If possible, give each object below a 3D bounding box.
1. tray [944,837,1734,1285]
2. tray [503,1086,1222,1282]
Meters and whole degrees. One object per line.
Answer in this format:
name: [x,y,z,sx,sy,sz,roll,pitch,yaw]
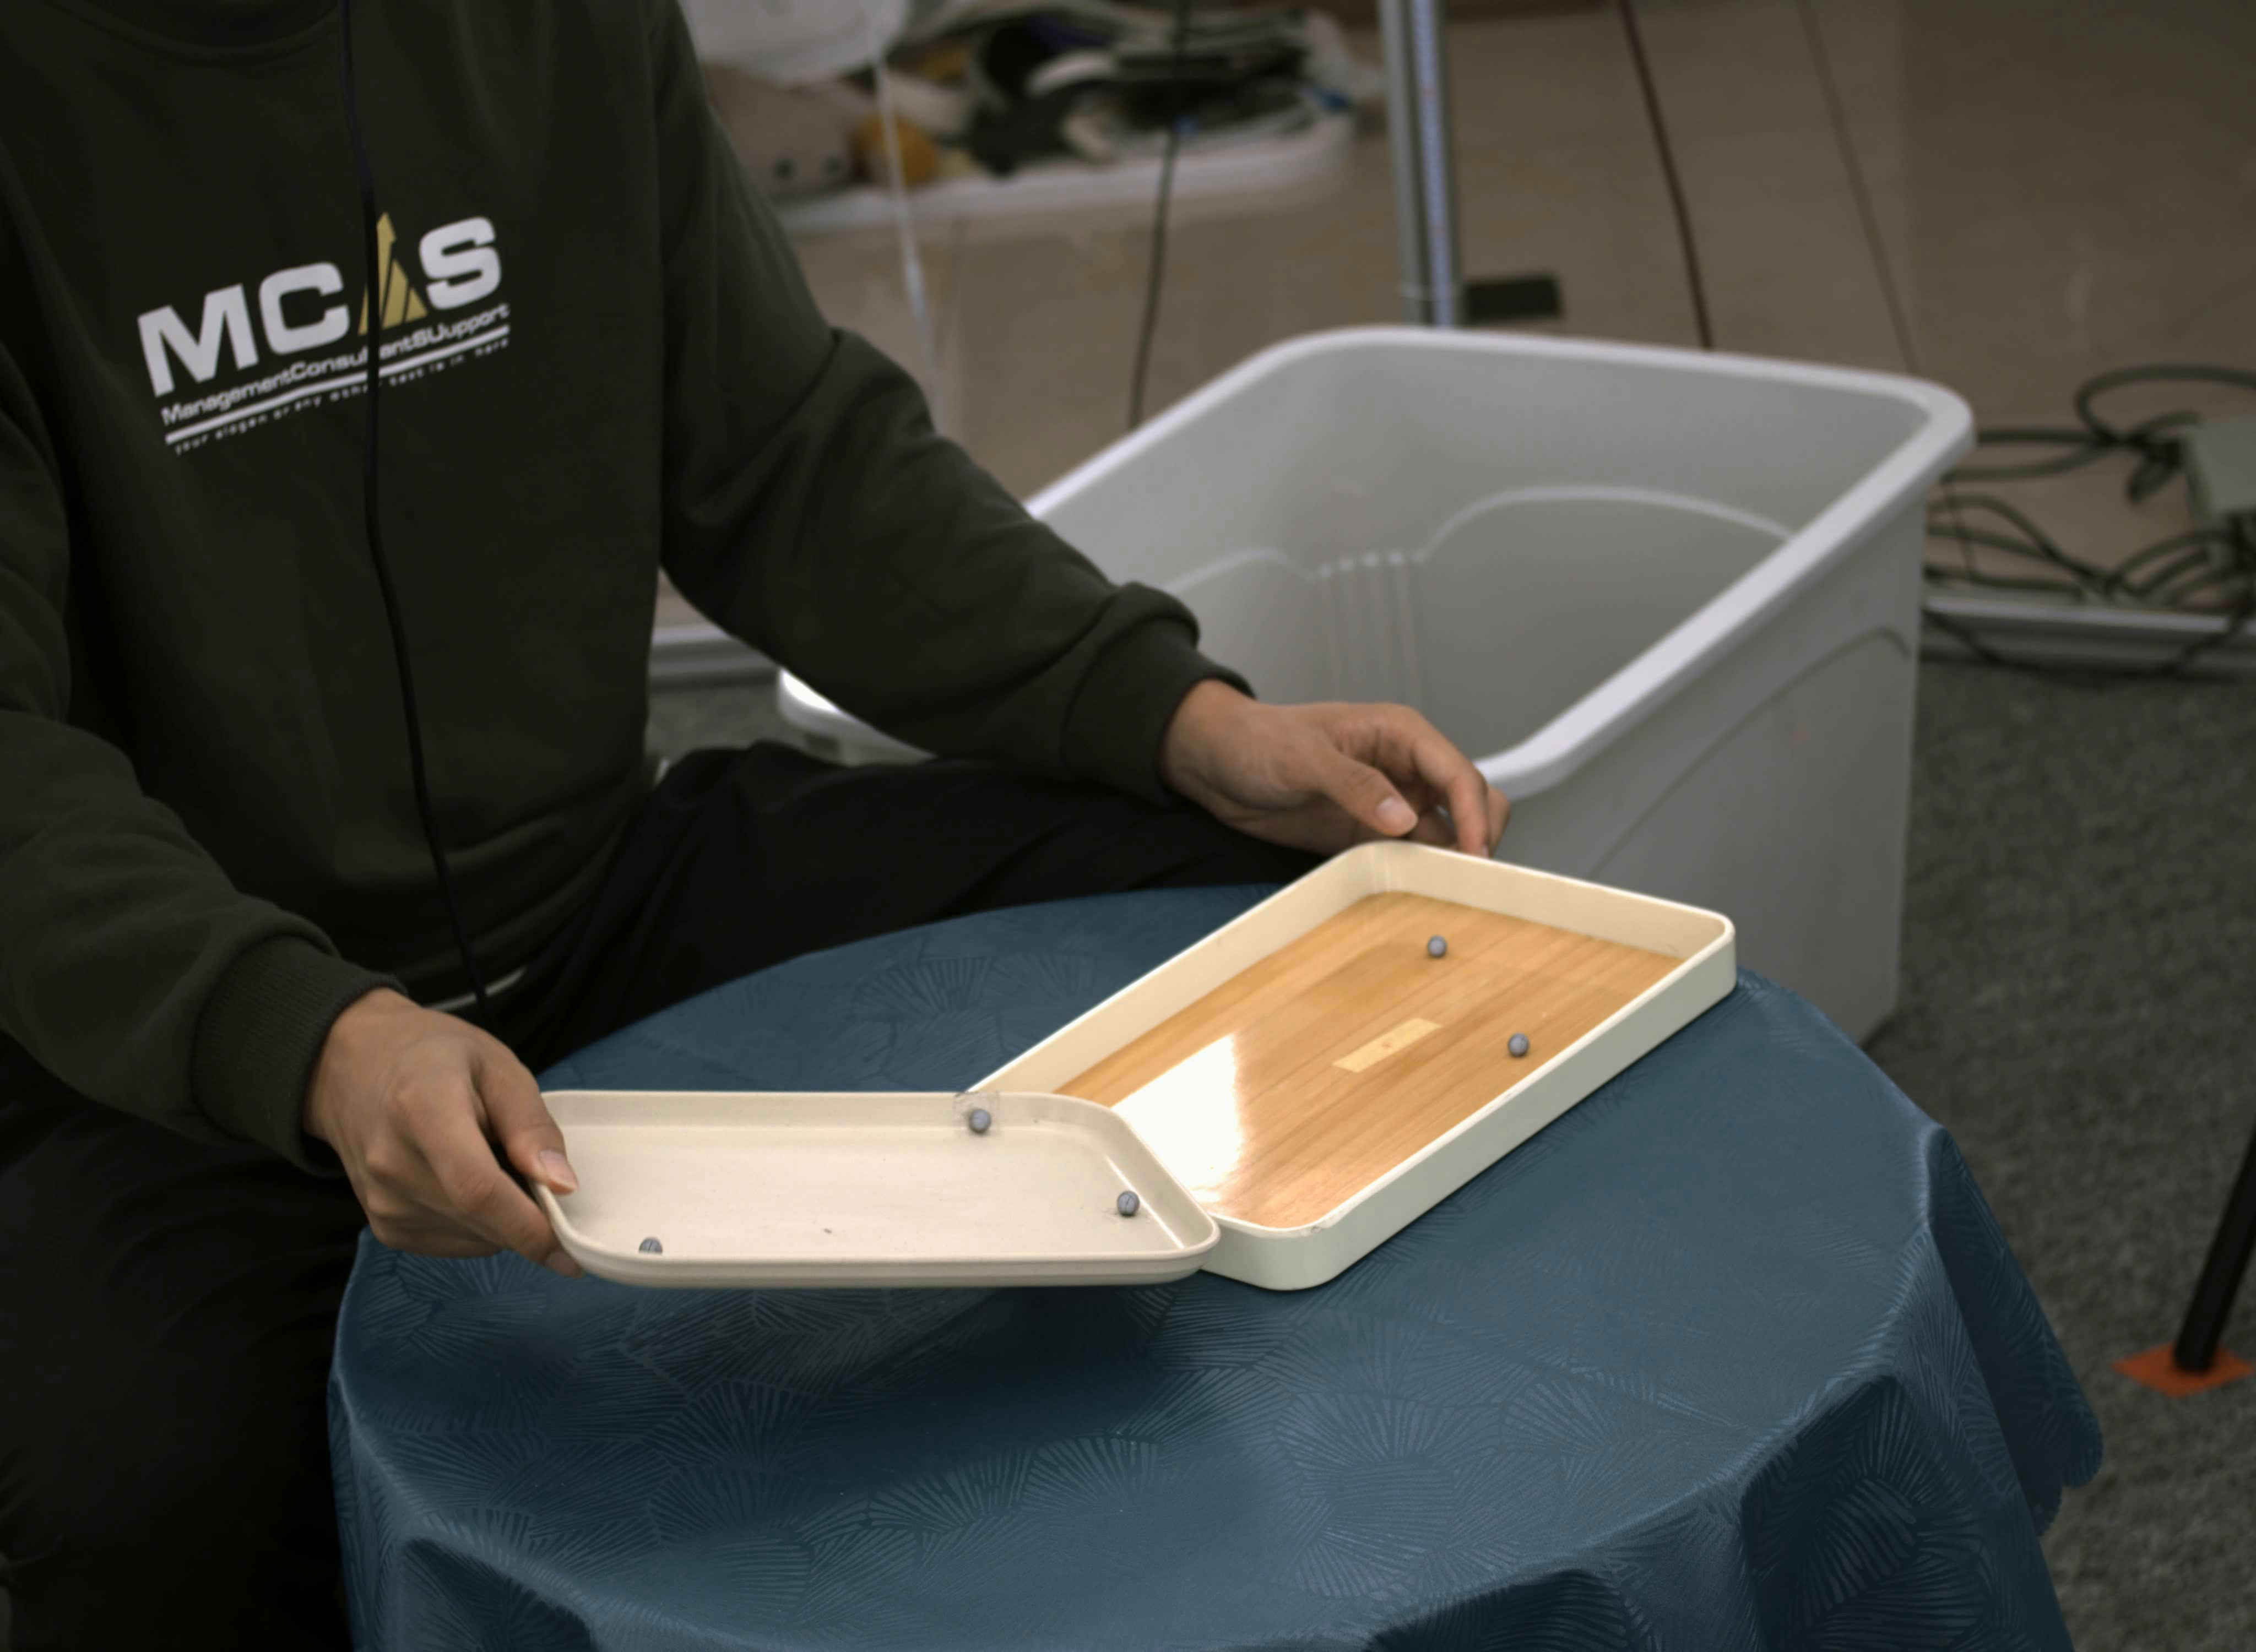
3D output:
tray: [0.082,0.087,2.209,0.190,0.028,0.297,14,31,37]
tray: [-0.097,0.129,2.039,0.239,0.018,0.169,2,17,-19]
